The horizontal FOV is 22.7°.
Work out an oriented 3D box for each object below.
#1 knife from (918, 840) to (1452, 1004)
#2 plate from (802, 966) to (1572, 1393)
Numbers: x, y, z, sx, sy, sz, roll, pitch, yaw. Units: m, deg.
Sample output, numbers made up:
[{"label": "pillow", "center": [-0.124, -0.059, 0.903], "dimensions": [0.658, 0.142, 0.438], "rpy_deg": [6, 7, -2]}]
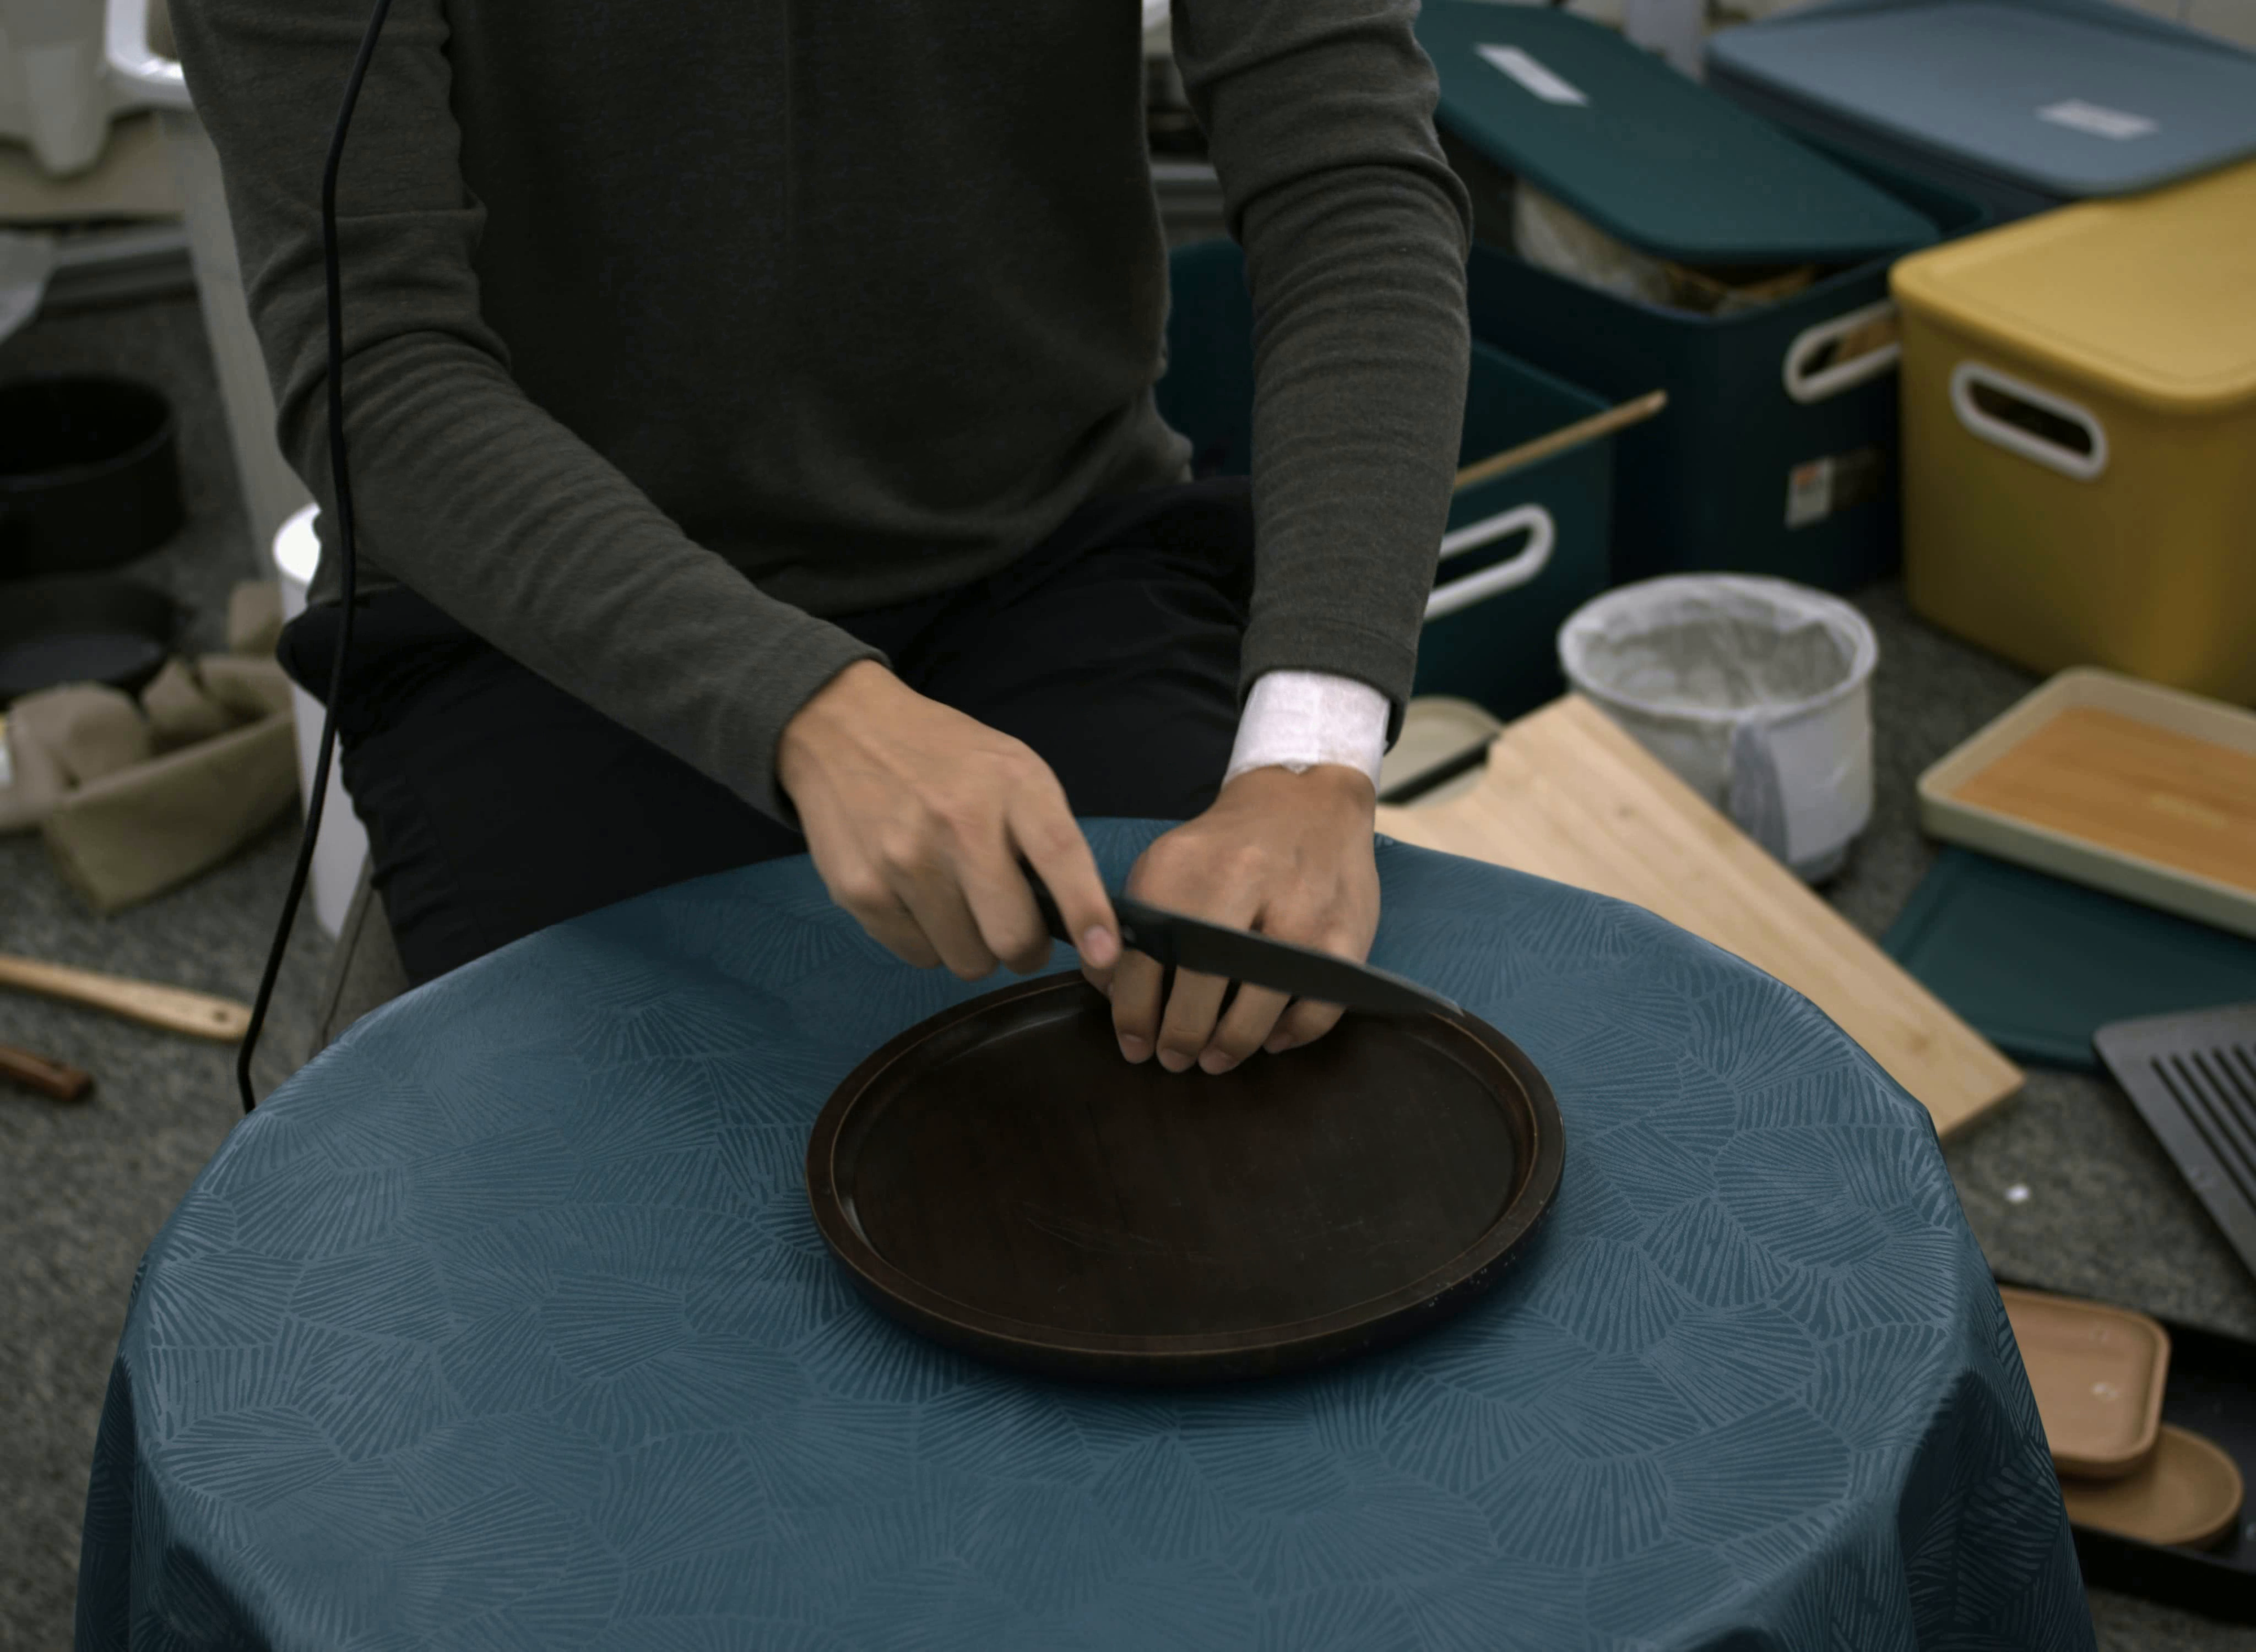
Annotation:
[{"label": "knife", "center": [0.015, 0.031, 1.828], "dimensions": [0.237, 0.024, 0.016], "rpy_deg": [13, 32, 43]}, {"label": "plate", "center": [0.019, 0.114, 1.850], "dimensions": [0.253, 0.029, 0.259], "rpy_deg": [-1, 28, 1]}]
